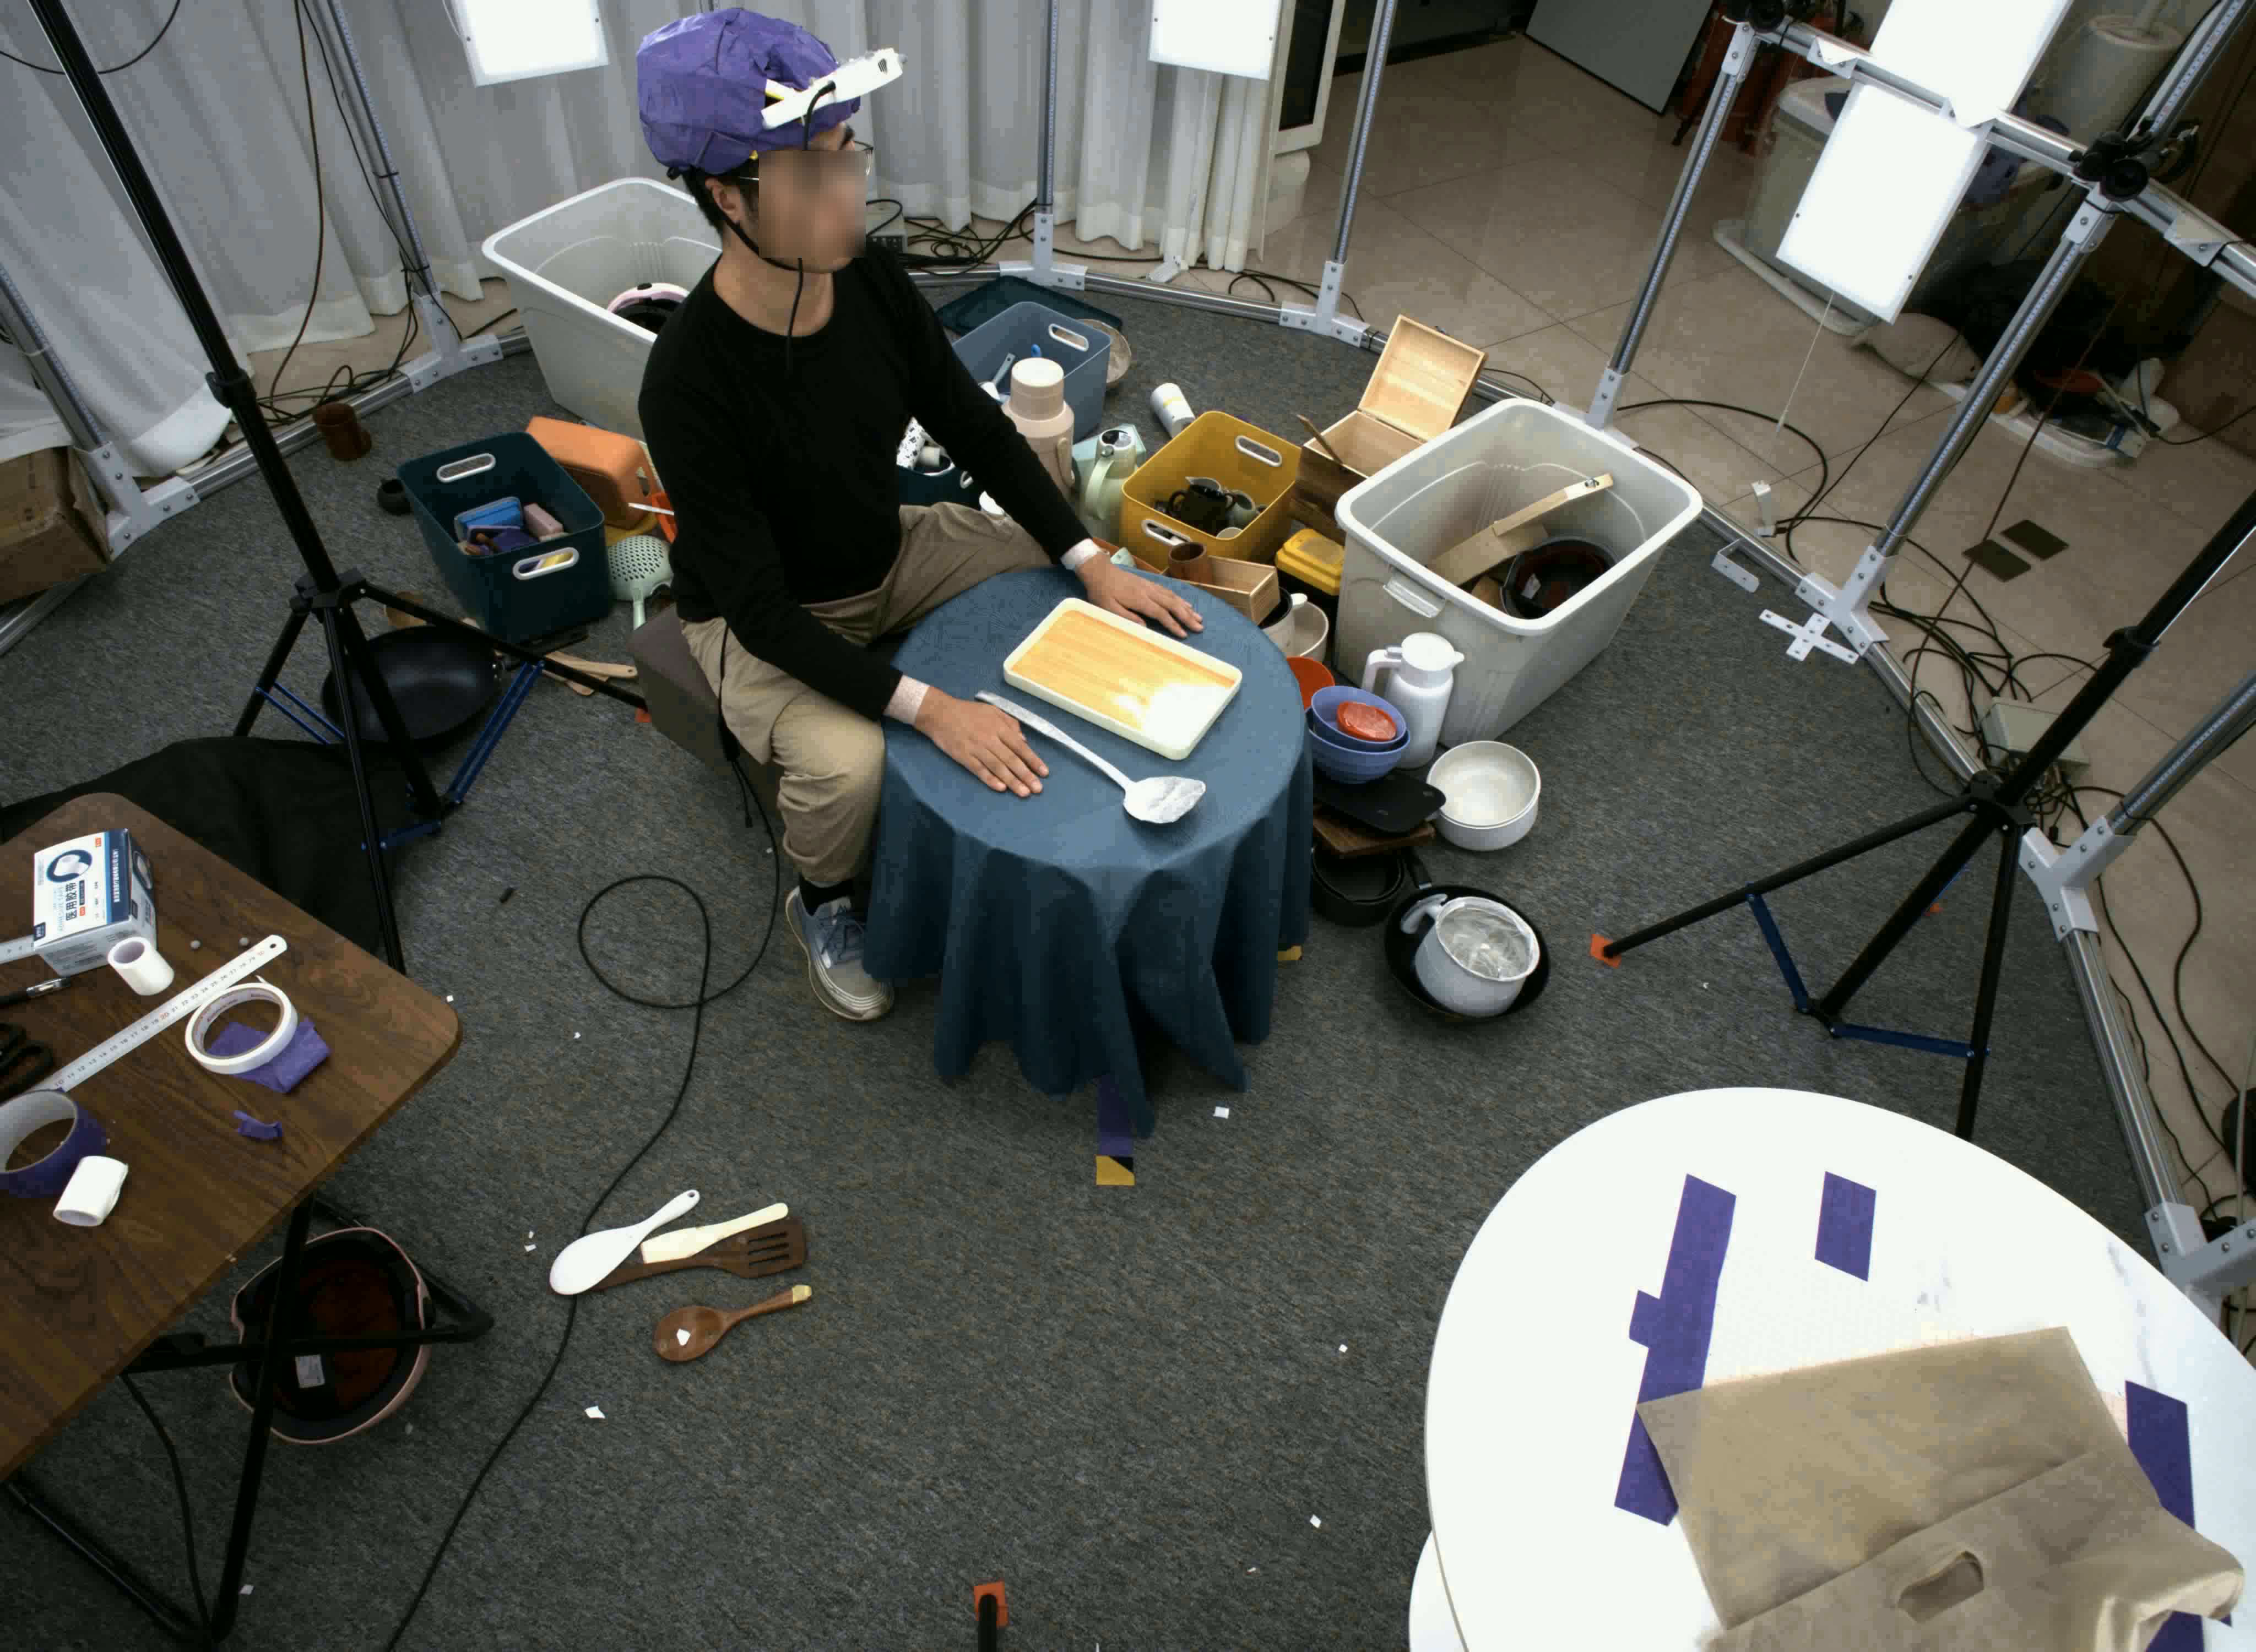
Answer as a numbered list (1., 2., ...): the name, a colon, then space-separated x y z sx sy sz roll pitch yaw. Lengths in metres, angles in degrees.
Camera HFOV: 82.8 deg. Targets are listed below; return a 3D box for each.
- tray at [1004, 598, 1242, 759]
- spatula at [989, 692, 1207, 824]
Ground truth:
1. tray: -0.007 -0.216 1.839 0.303 0.027 0.194 26 52 18
2. spatula: -0.059 -0.104 1.732 0.369 0.044 0.100 33 55 22
